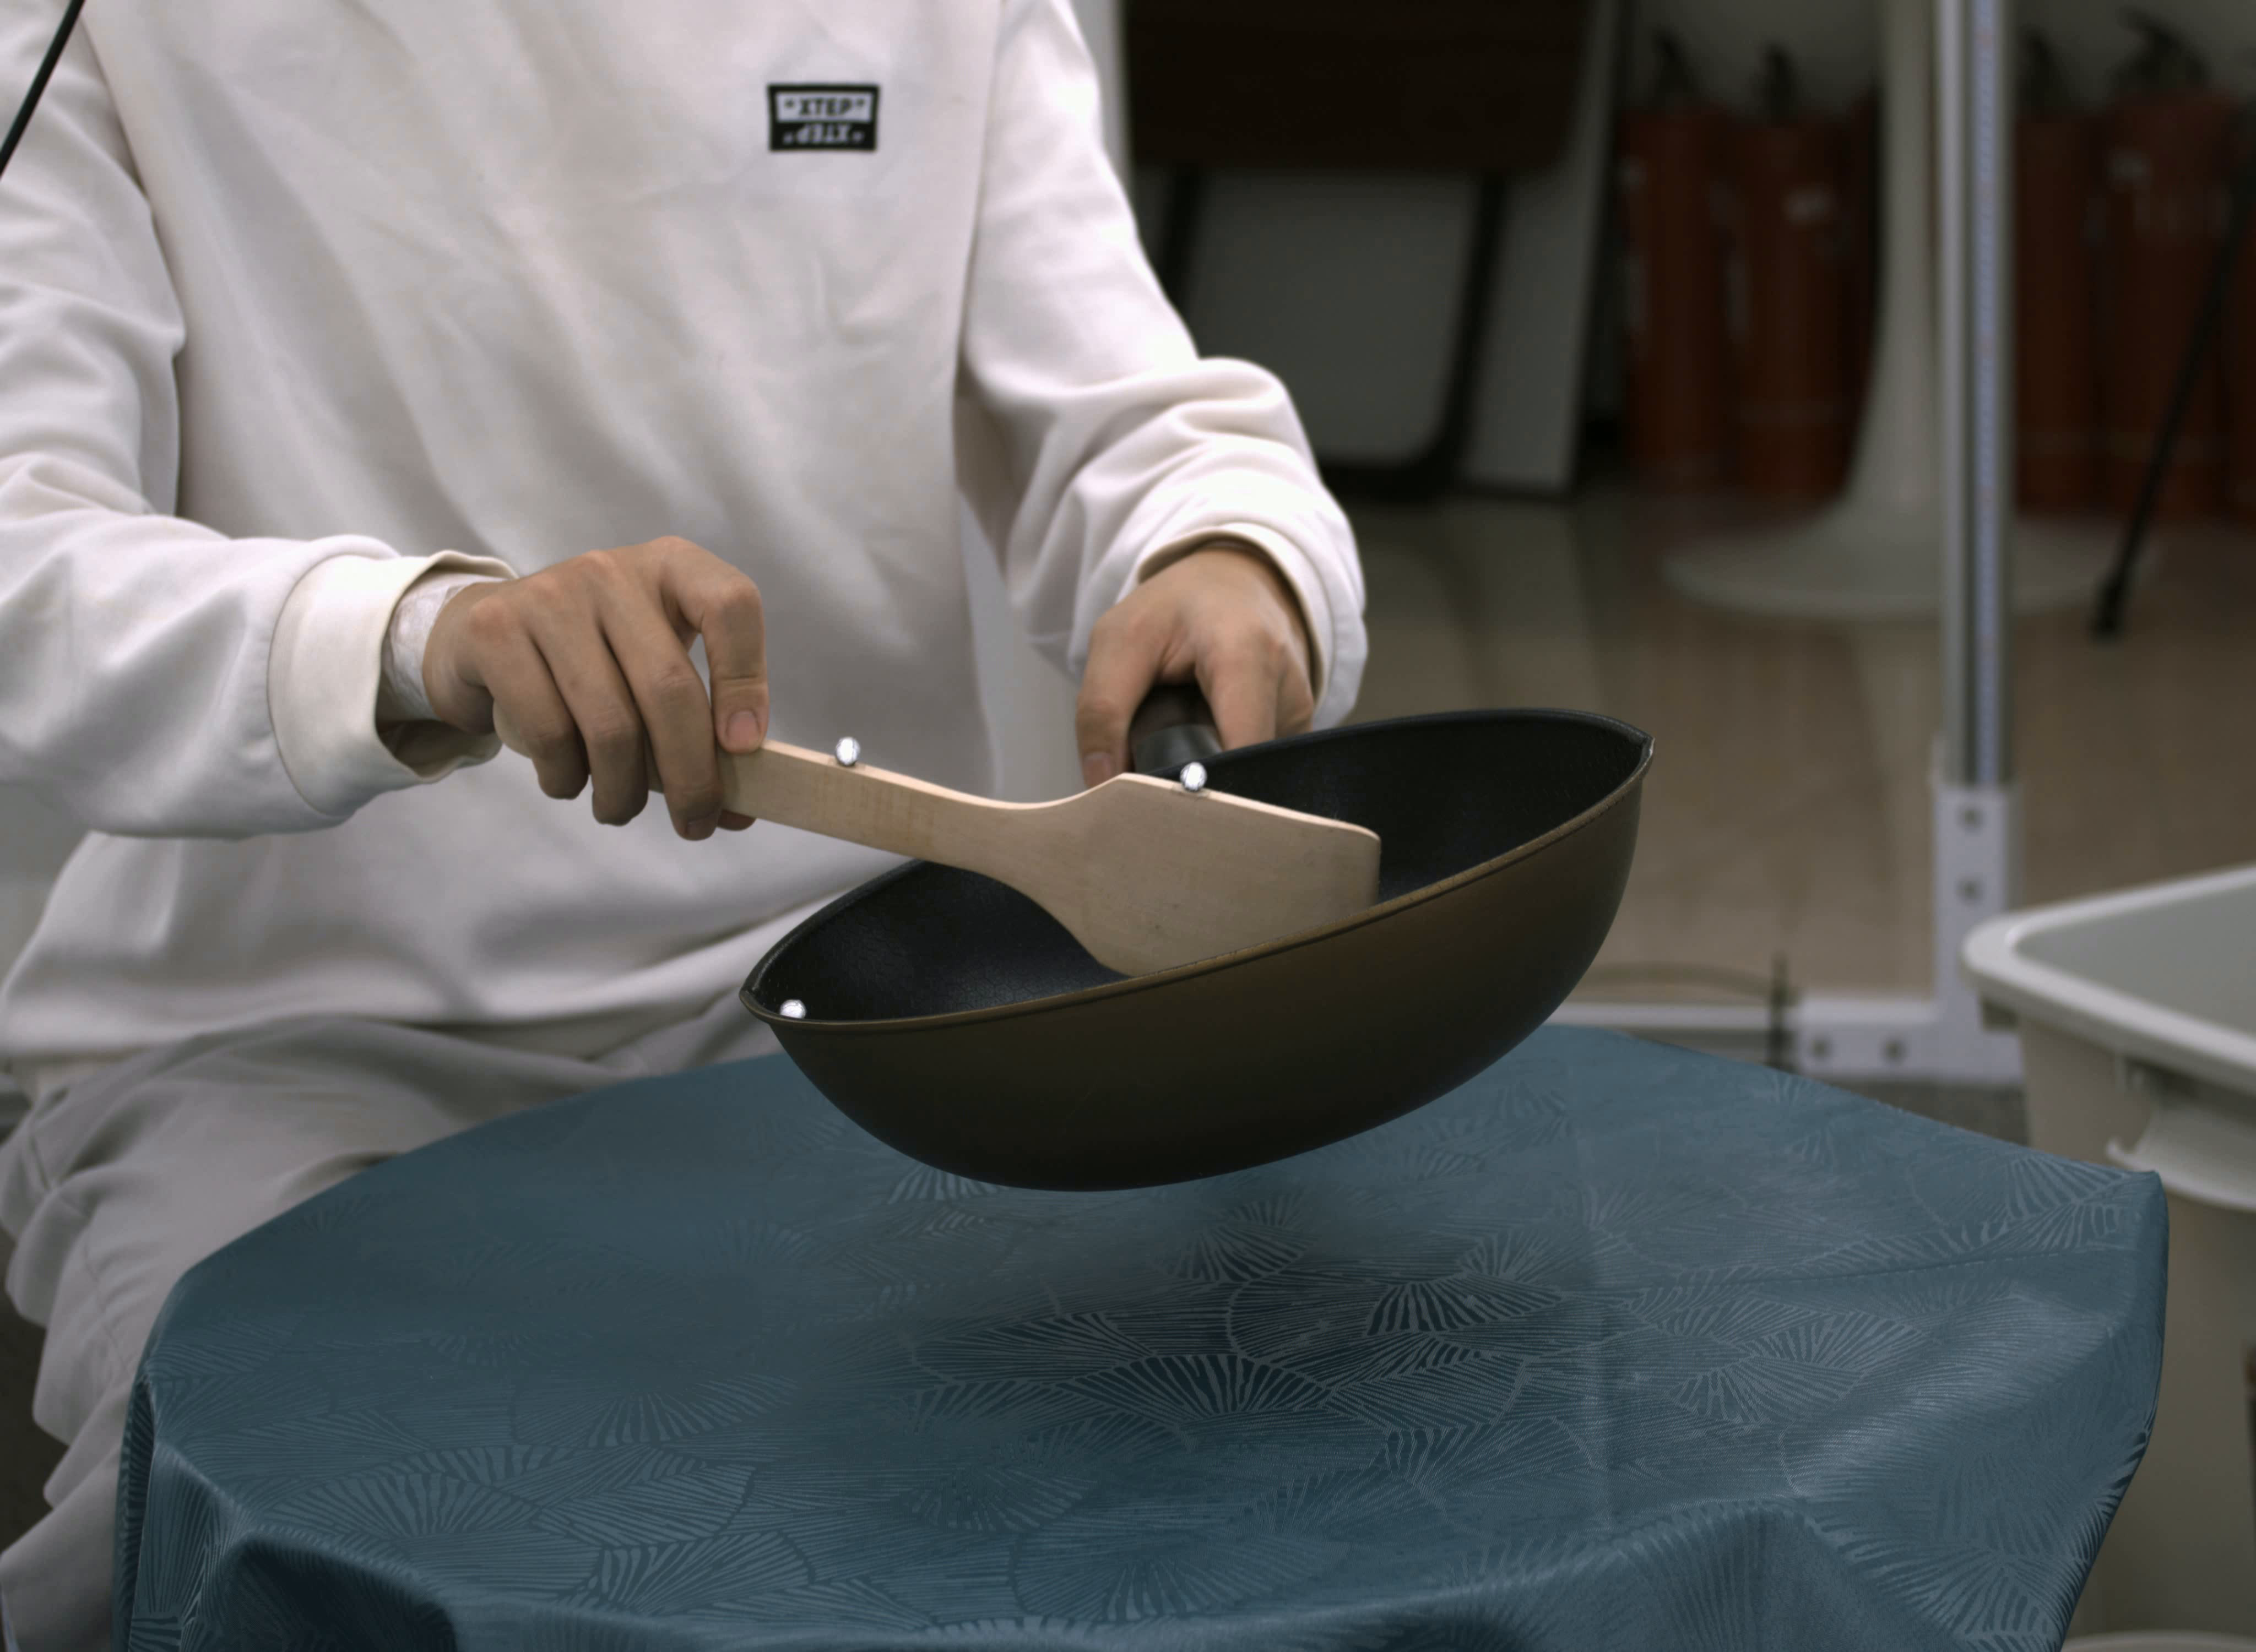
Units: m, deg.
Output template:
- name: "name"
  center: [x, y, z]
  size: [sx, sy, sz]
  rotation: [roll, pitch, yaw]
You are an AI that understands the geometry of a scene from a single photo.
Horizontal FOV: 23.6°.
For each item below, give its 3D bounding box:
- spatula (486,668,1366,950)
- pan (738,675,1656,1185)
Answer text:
- name: "spatula"
  center: [-0.067, -0.005, 1.671]
  size: [0.292, 0.073, 0.010]
  rotation: [15, 30, 16]
- name: "pan"
  center: [0.028, 0.026, 1.709]
  size: [0.285, 0.087, 0.463]
  rotation: [-16, 10, 3]
